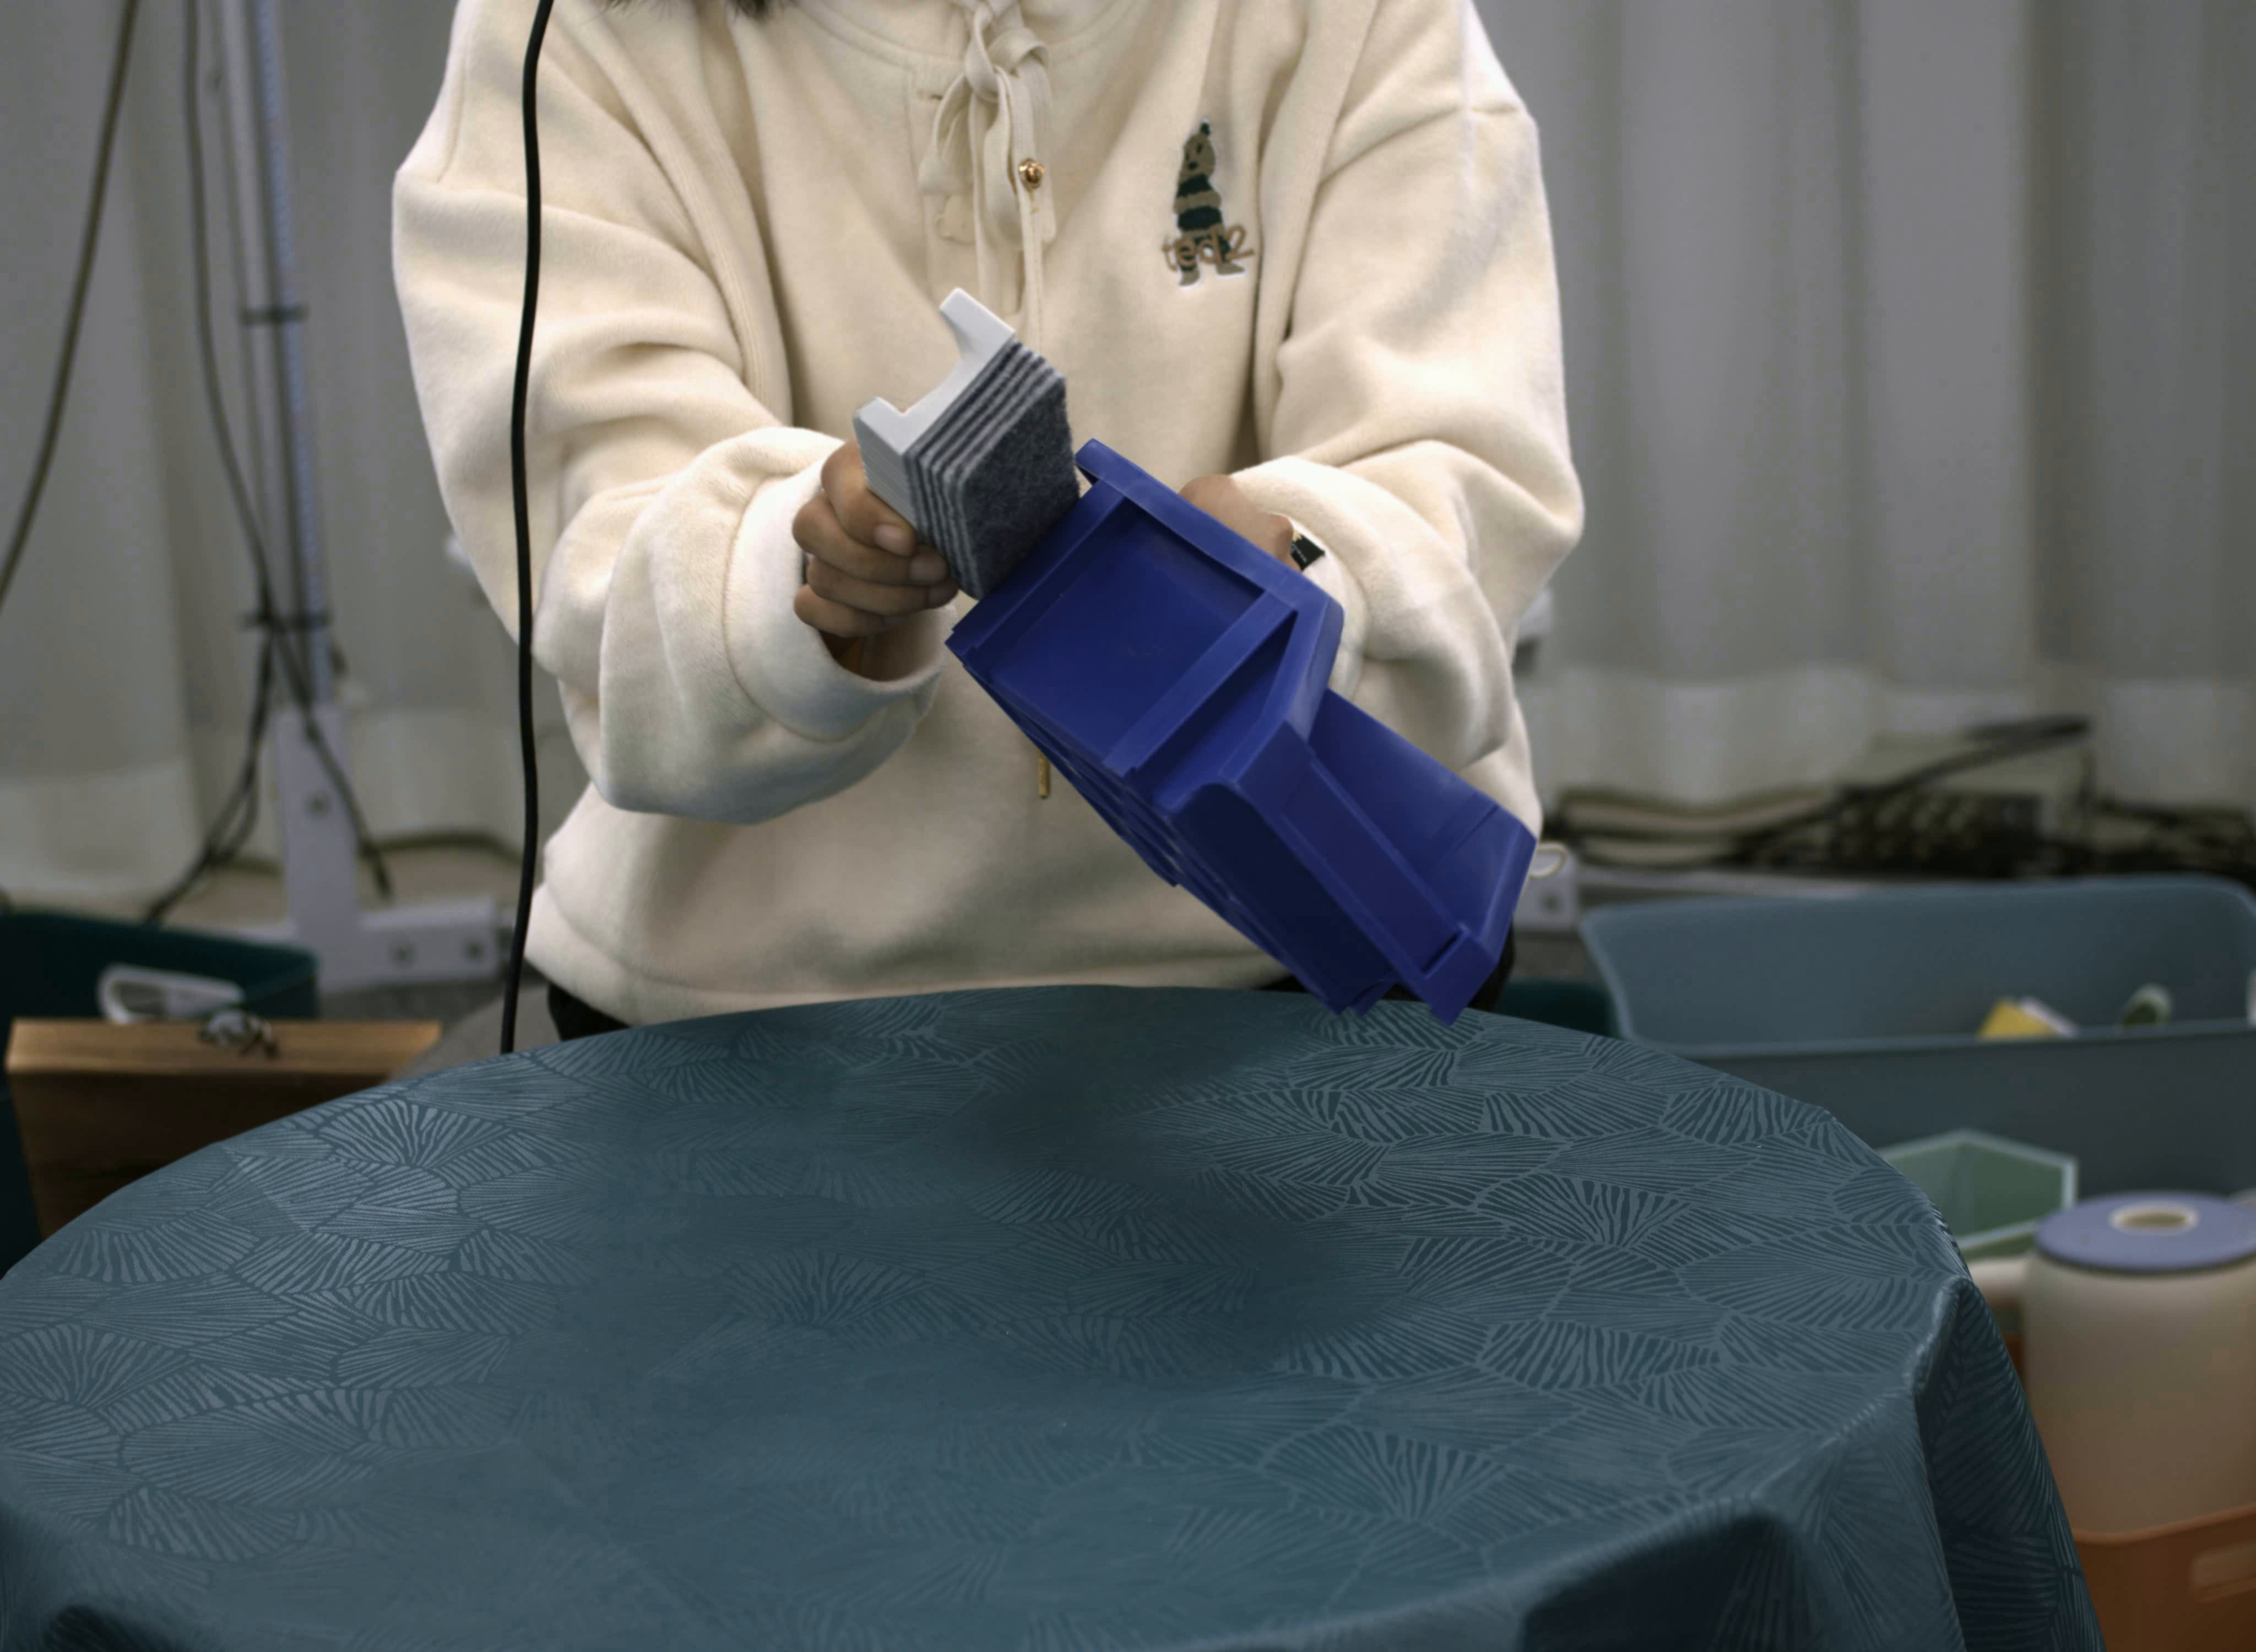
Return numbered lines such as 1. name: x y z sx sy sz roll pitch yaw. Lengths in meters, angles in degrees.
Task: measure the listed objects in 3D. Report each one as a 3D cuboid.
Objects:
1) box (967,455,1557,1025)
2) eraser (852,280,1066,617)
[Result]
1. box: 0.043 -0.021 1.643 0.082 0.123 0.181 -47 34 -7
2. eraser: -0.048 -0.110 1.629 0.046 0.050 0.133 38 -12 8
